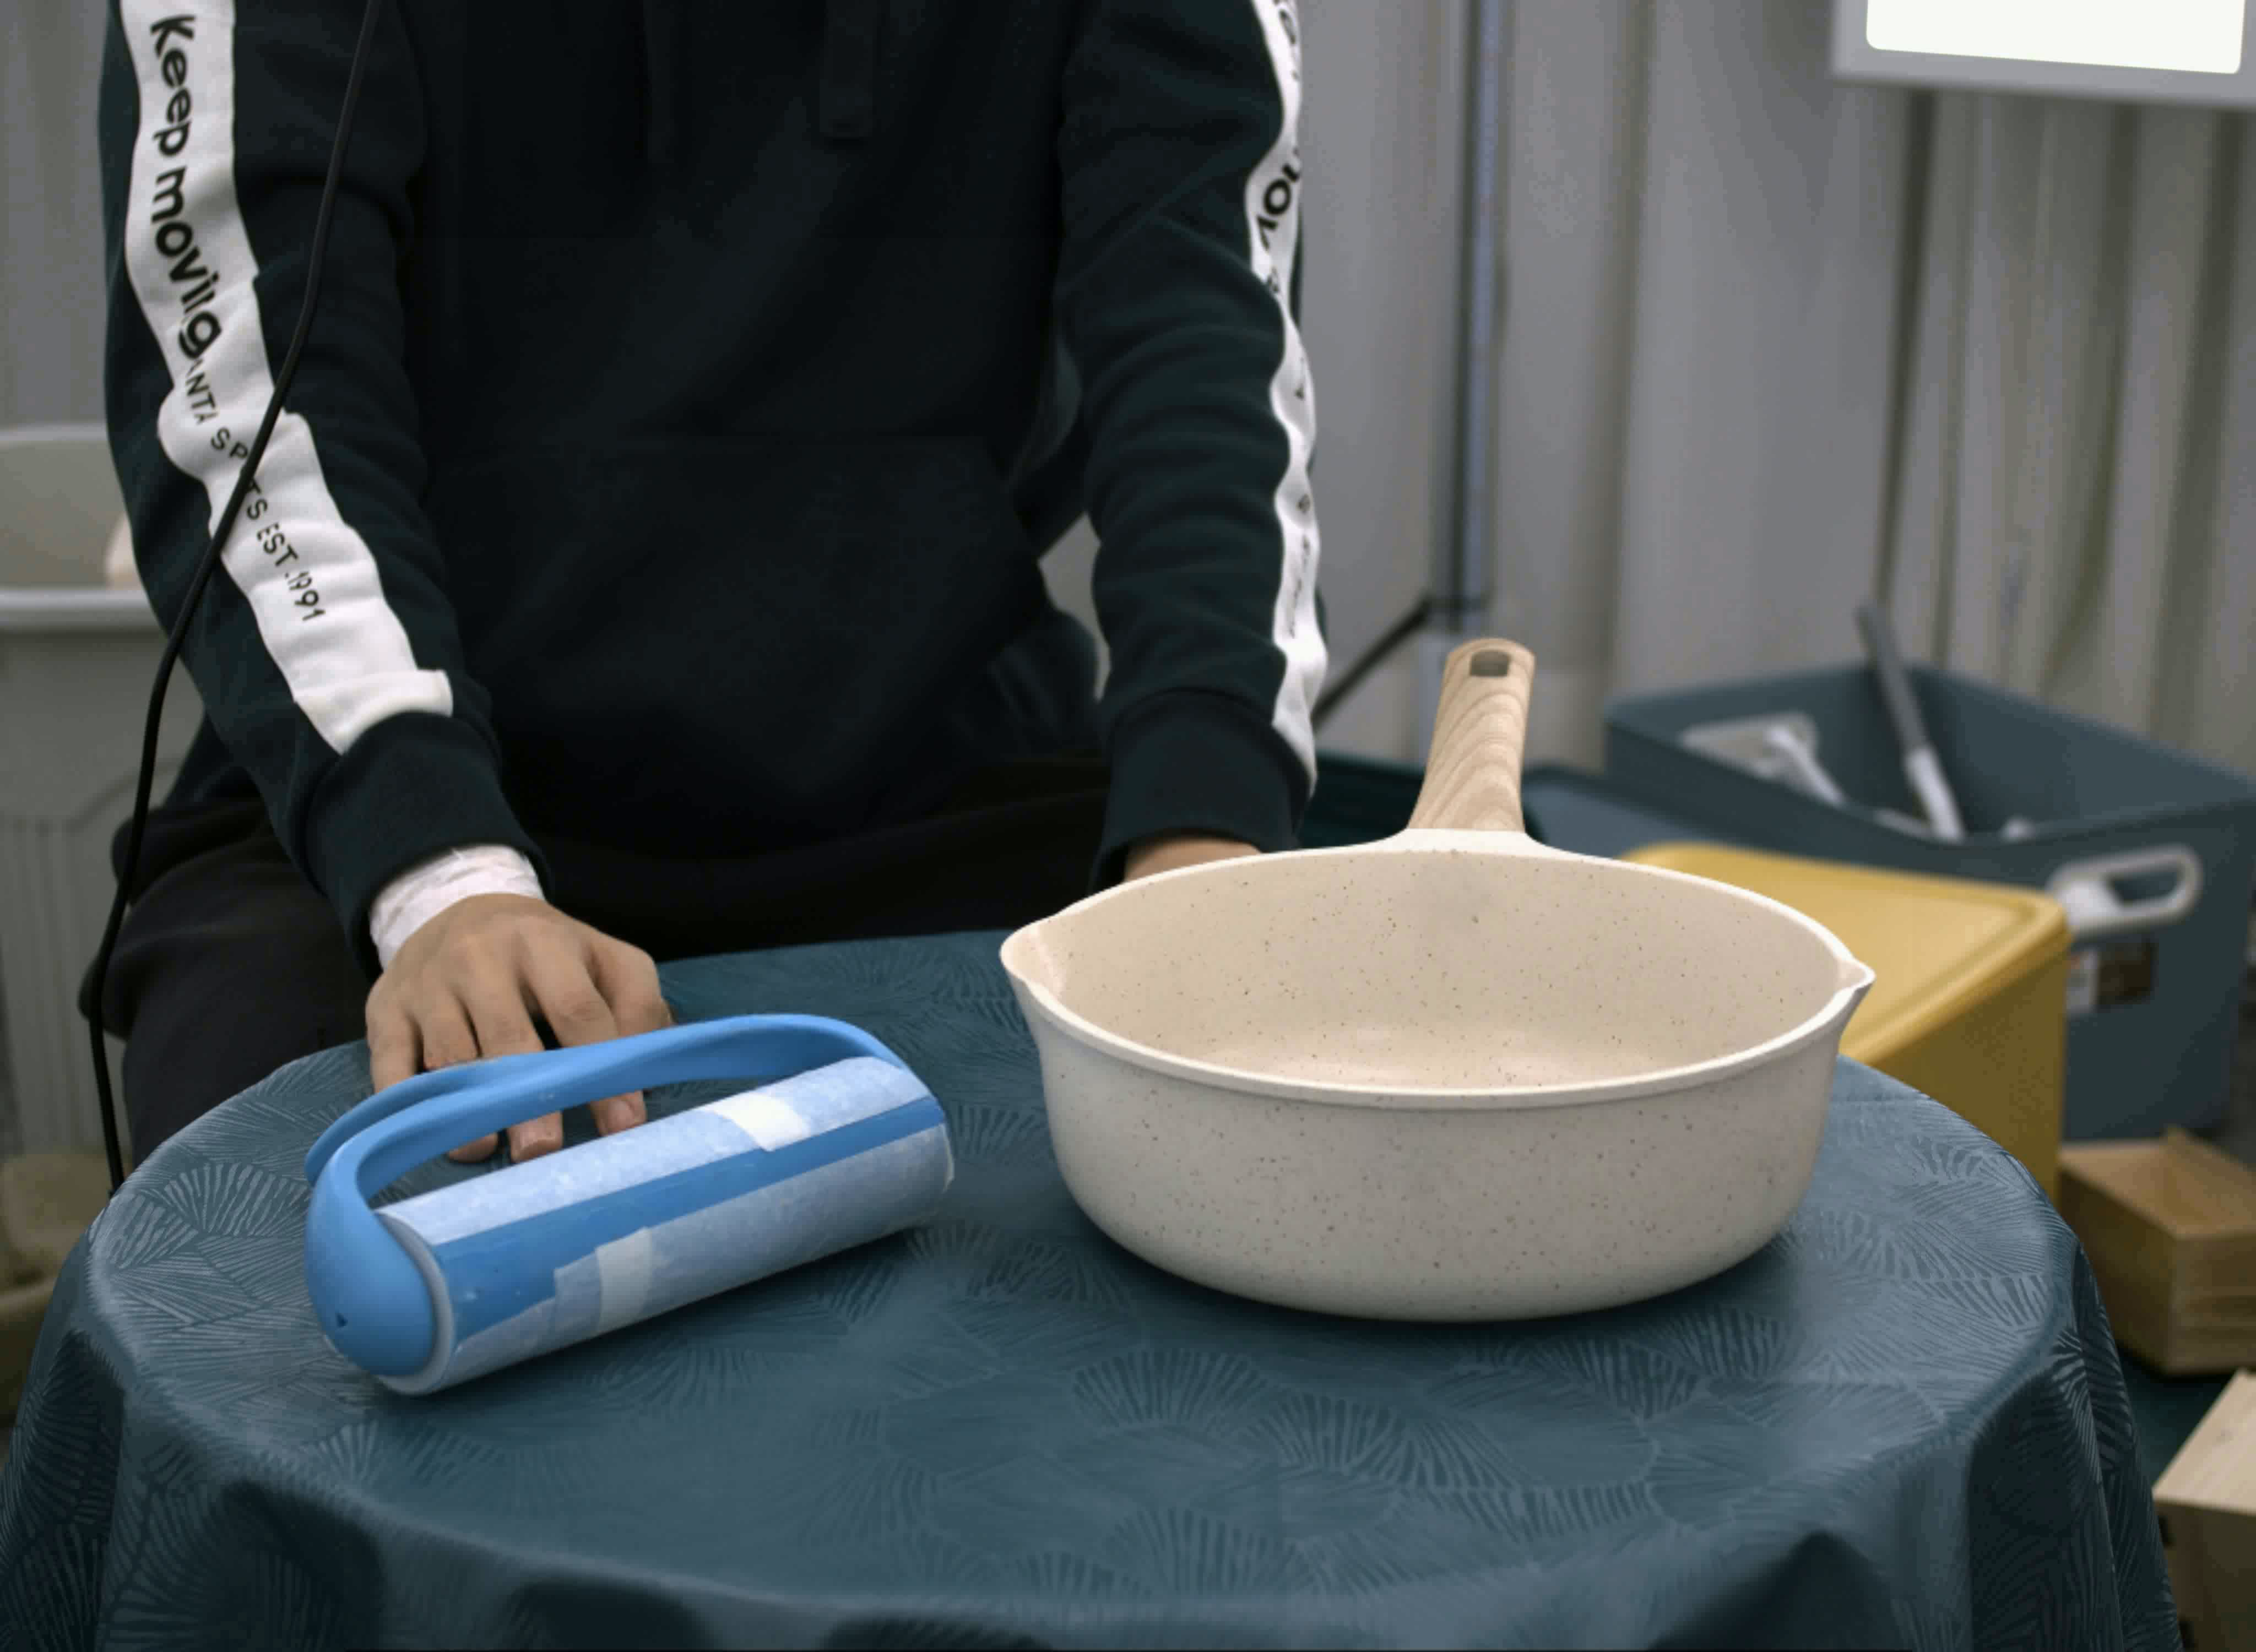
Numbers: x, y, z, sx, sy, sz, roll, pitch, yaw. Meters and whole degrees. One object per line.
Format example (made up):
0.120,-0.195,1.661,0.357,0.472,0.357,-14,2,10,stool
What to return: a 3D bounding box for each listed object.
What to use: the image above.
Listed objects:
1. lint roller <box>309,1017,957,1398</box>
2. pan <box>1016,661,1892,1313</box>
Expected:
-0.181,0.101,1.547,0.178,0.068,0.230,13,21,38,lint roller
0.107,0.046,1.674,0.262,0.103,0.433,1,15,5,pan
